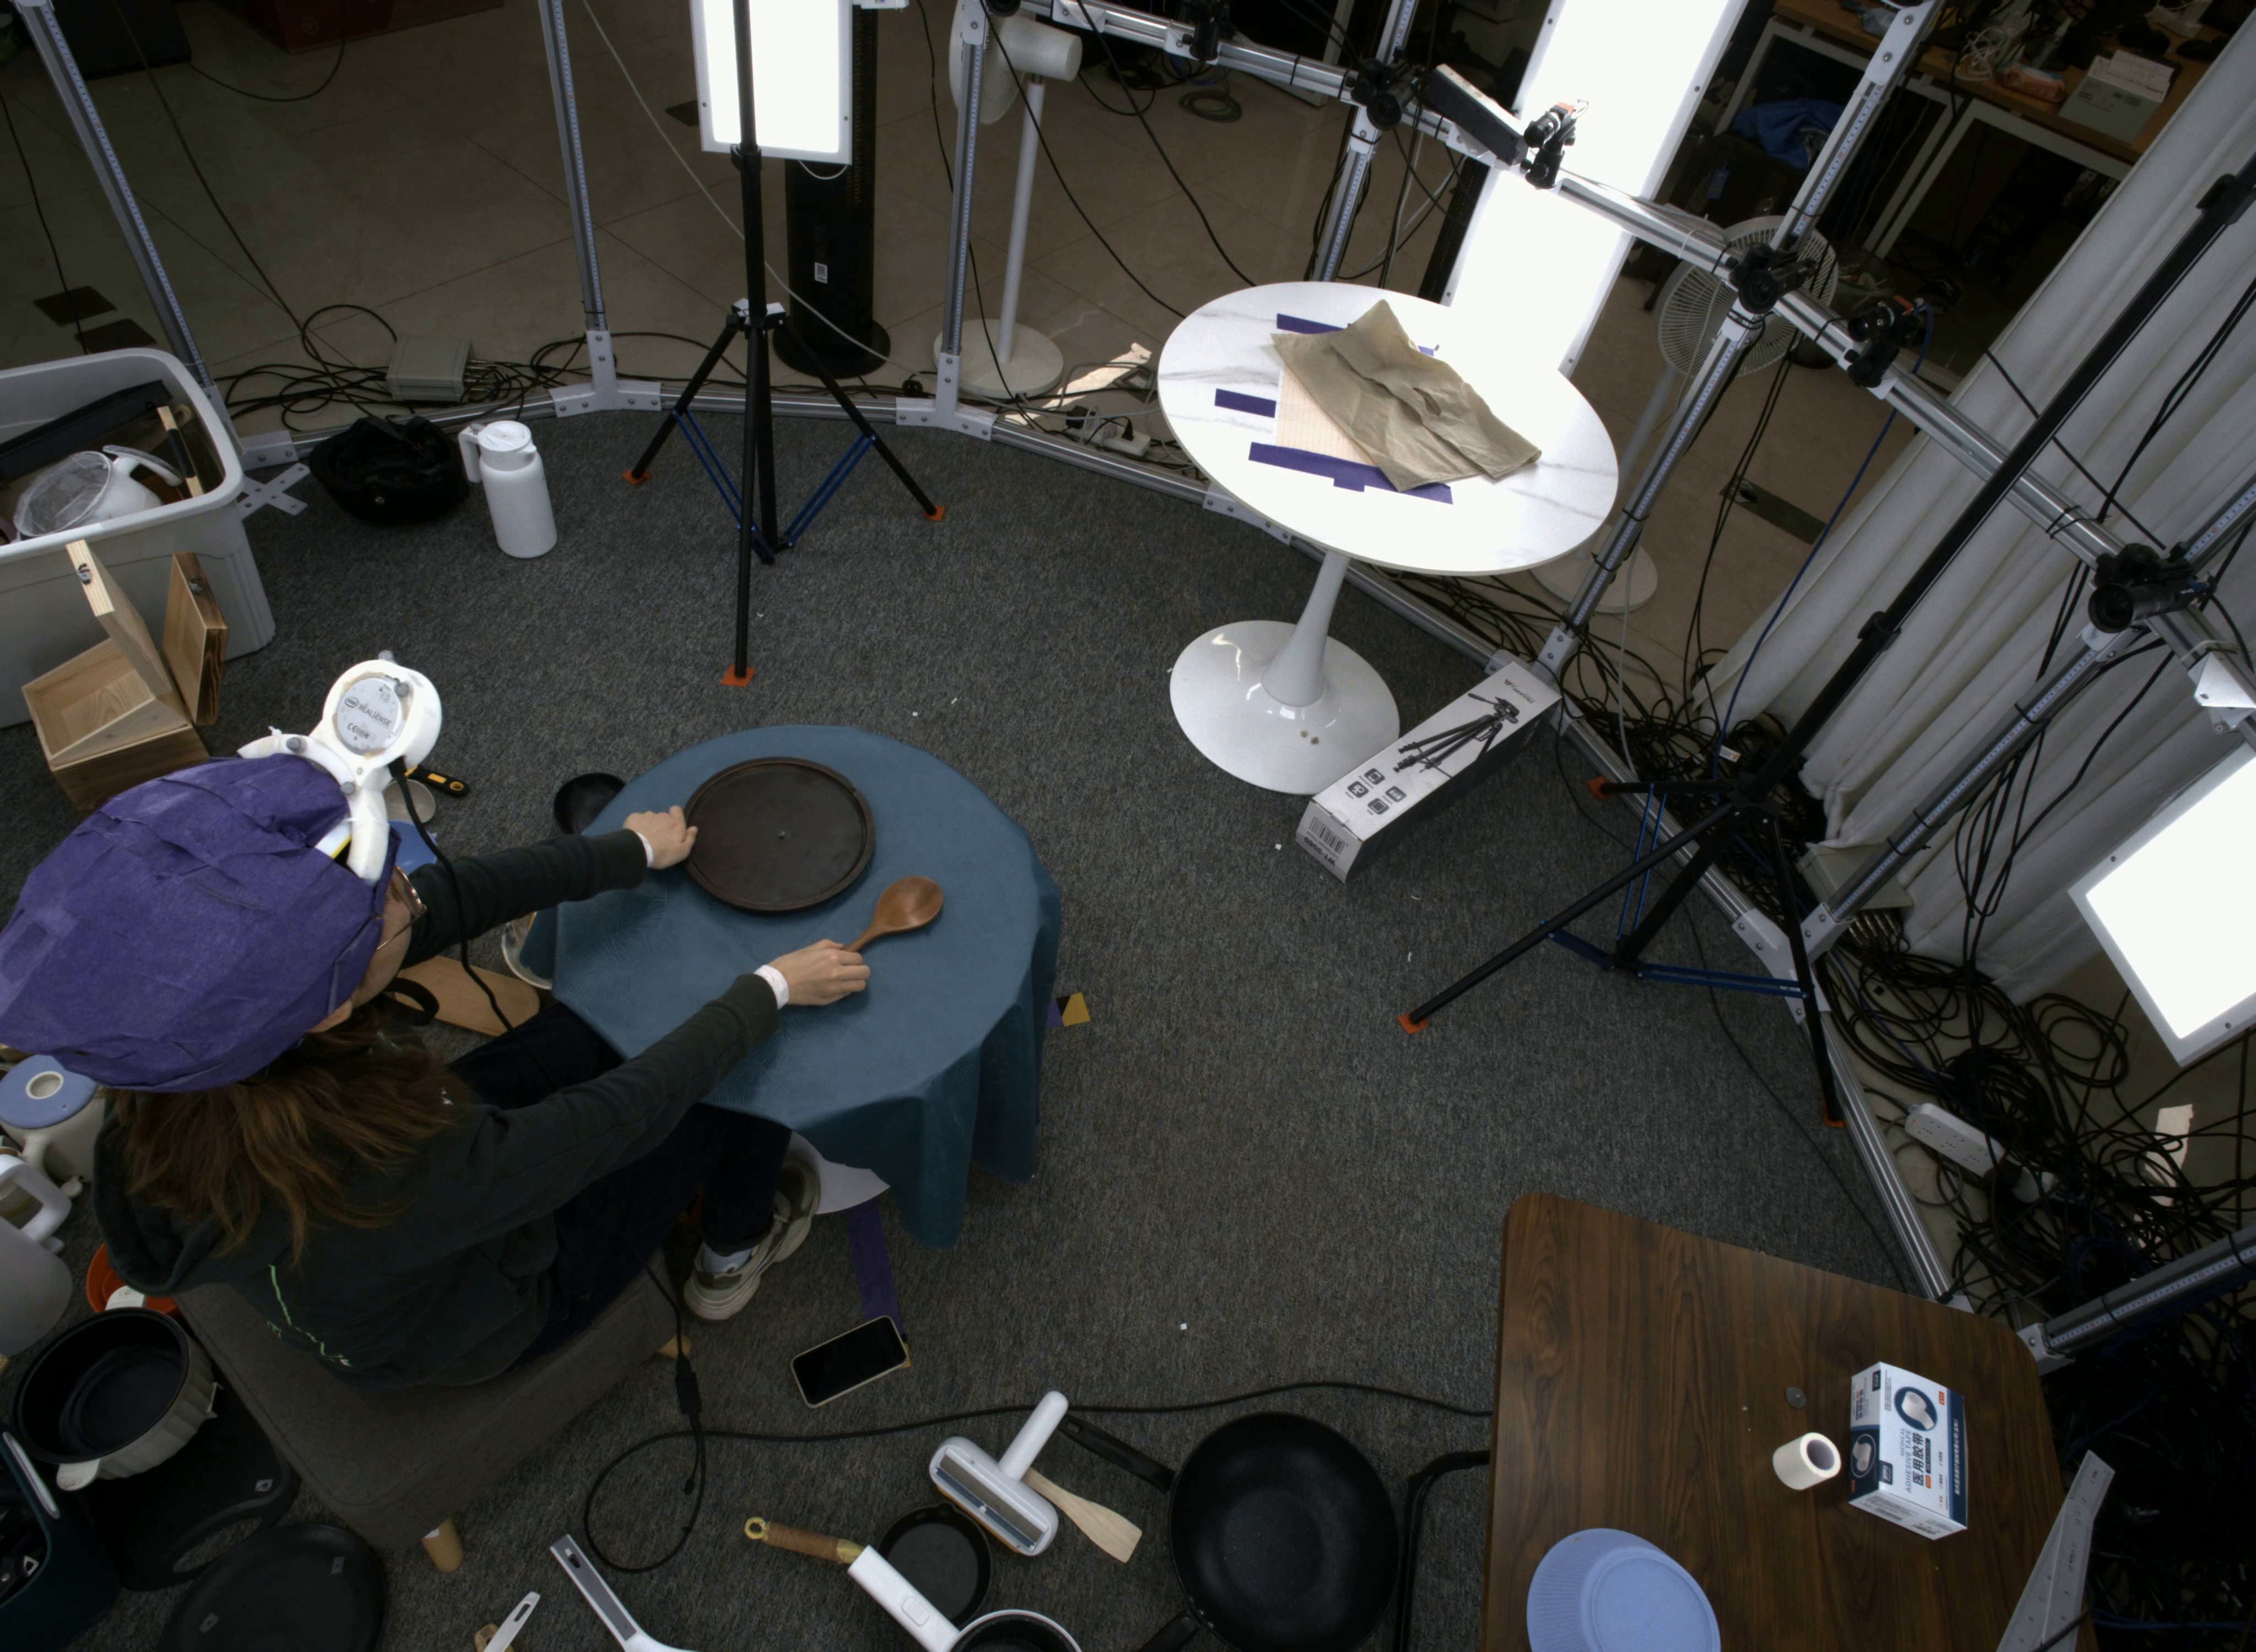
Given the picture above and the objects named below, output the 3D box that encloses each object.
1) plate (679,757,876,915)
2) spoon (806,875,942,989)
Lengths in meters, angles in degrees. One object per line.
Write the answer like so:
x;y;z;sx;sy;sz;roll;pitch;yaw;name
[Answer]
-0.459;0.010;1.698;0.254;0.029;0.250;8;51;-8;plate
-0.322;0.134;1.645;0.074;0.017;0.216;39;54;15;spoon
